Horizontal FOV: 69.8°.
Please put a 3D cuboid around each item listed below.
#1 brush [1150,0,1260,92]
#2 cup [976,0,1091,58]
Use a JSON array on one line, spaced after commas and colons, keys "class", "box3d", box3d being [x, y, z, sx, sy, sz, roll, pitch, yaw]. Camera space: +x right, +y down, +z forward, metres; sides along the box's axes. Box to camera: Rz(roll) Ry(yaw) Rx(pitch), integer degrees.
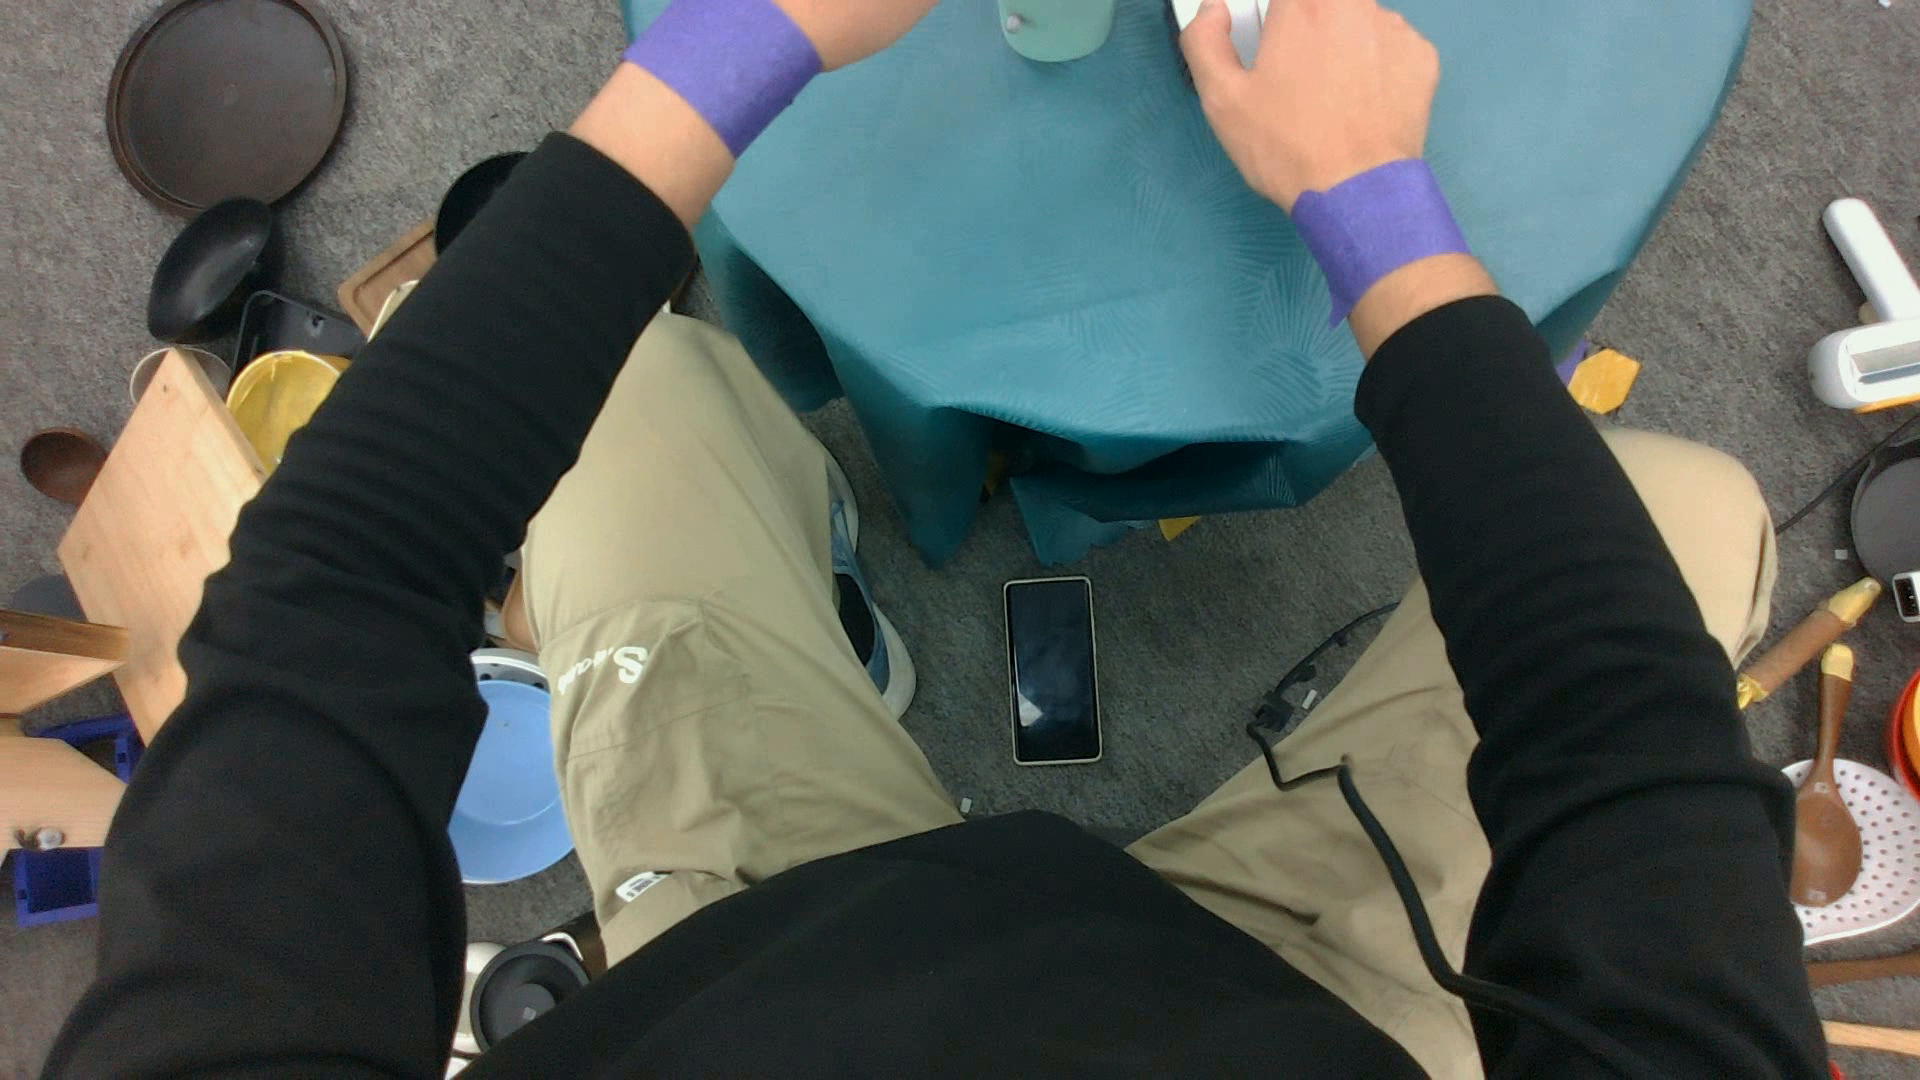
[{"class": "brush", "box3d": [0.121, -0.284, 0.685, 0.050, 0.072, 0.099, -12, 81, 5]}, {"class": "cup", "box3d": [0.036, -0.293, 0.669, 0.067, 0.132, 0.067, 0, 83, 4]}]
